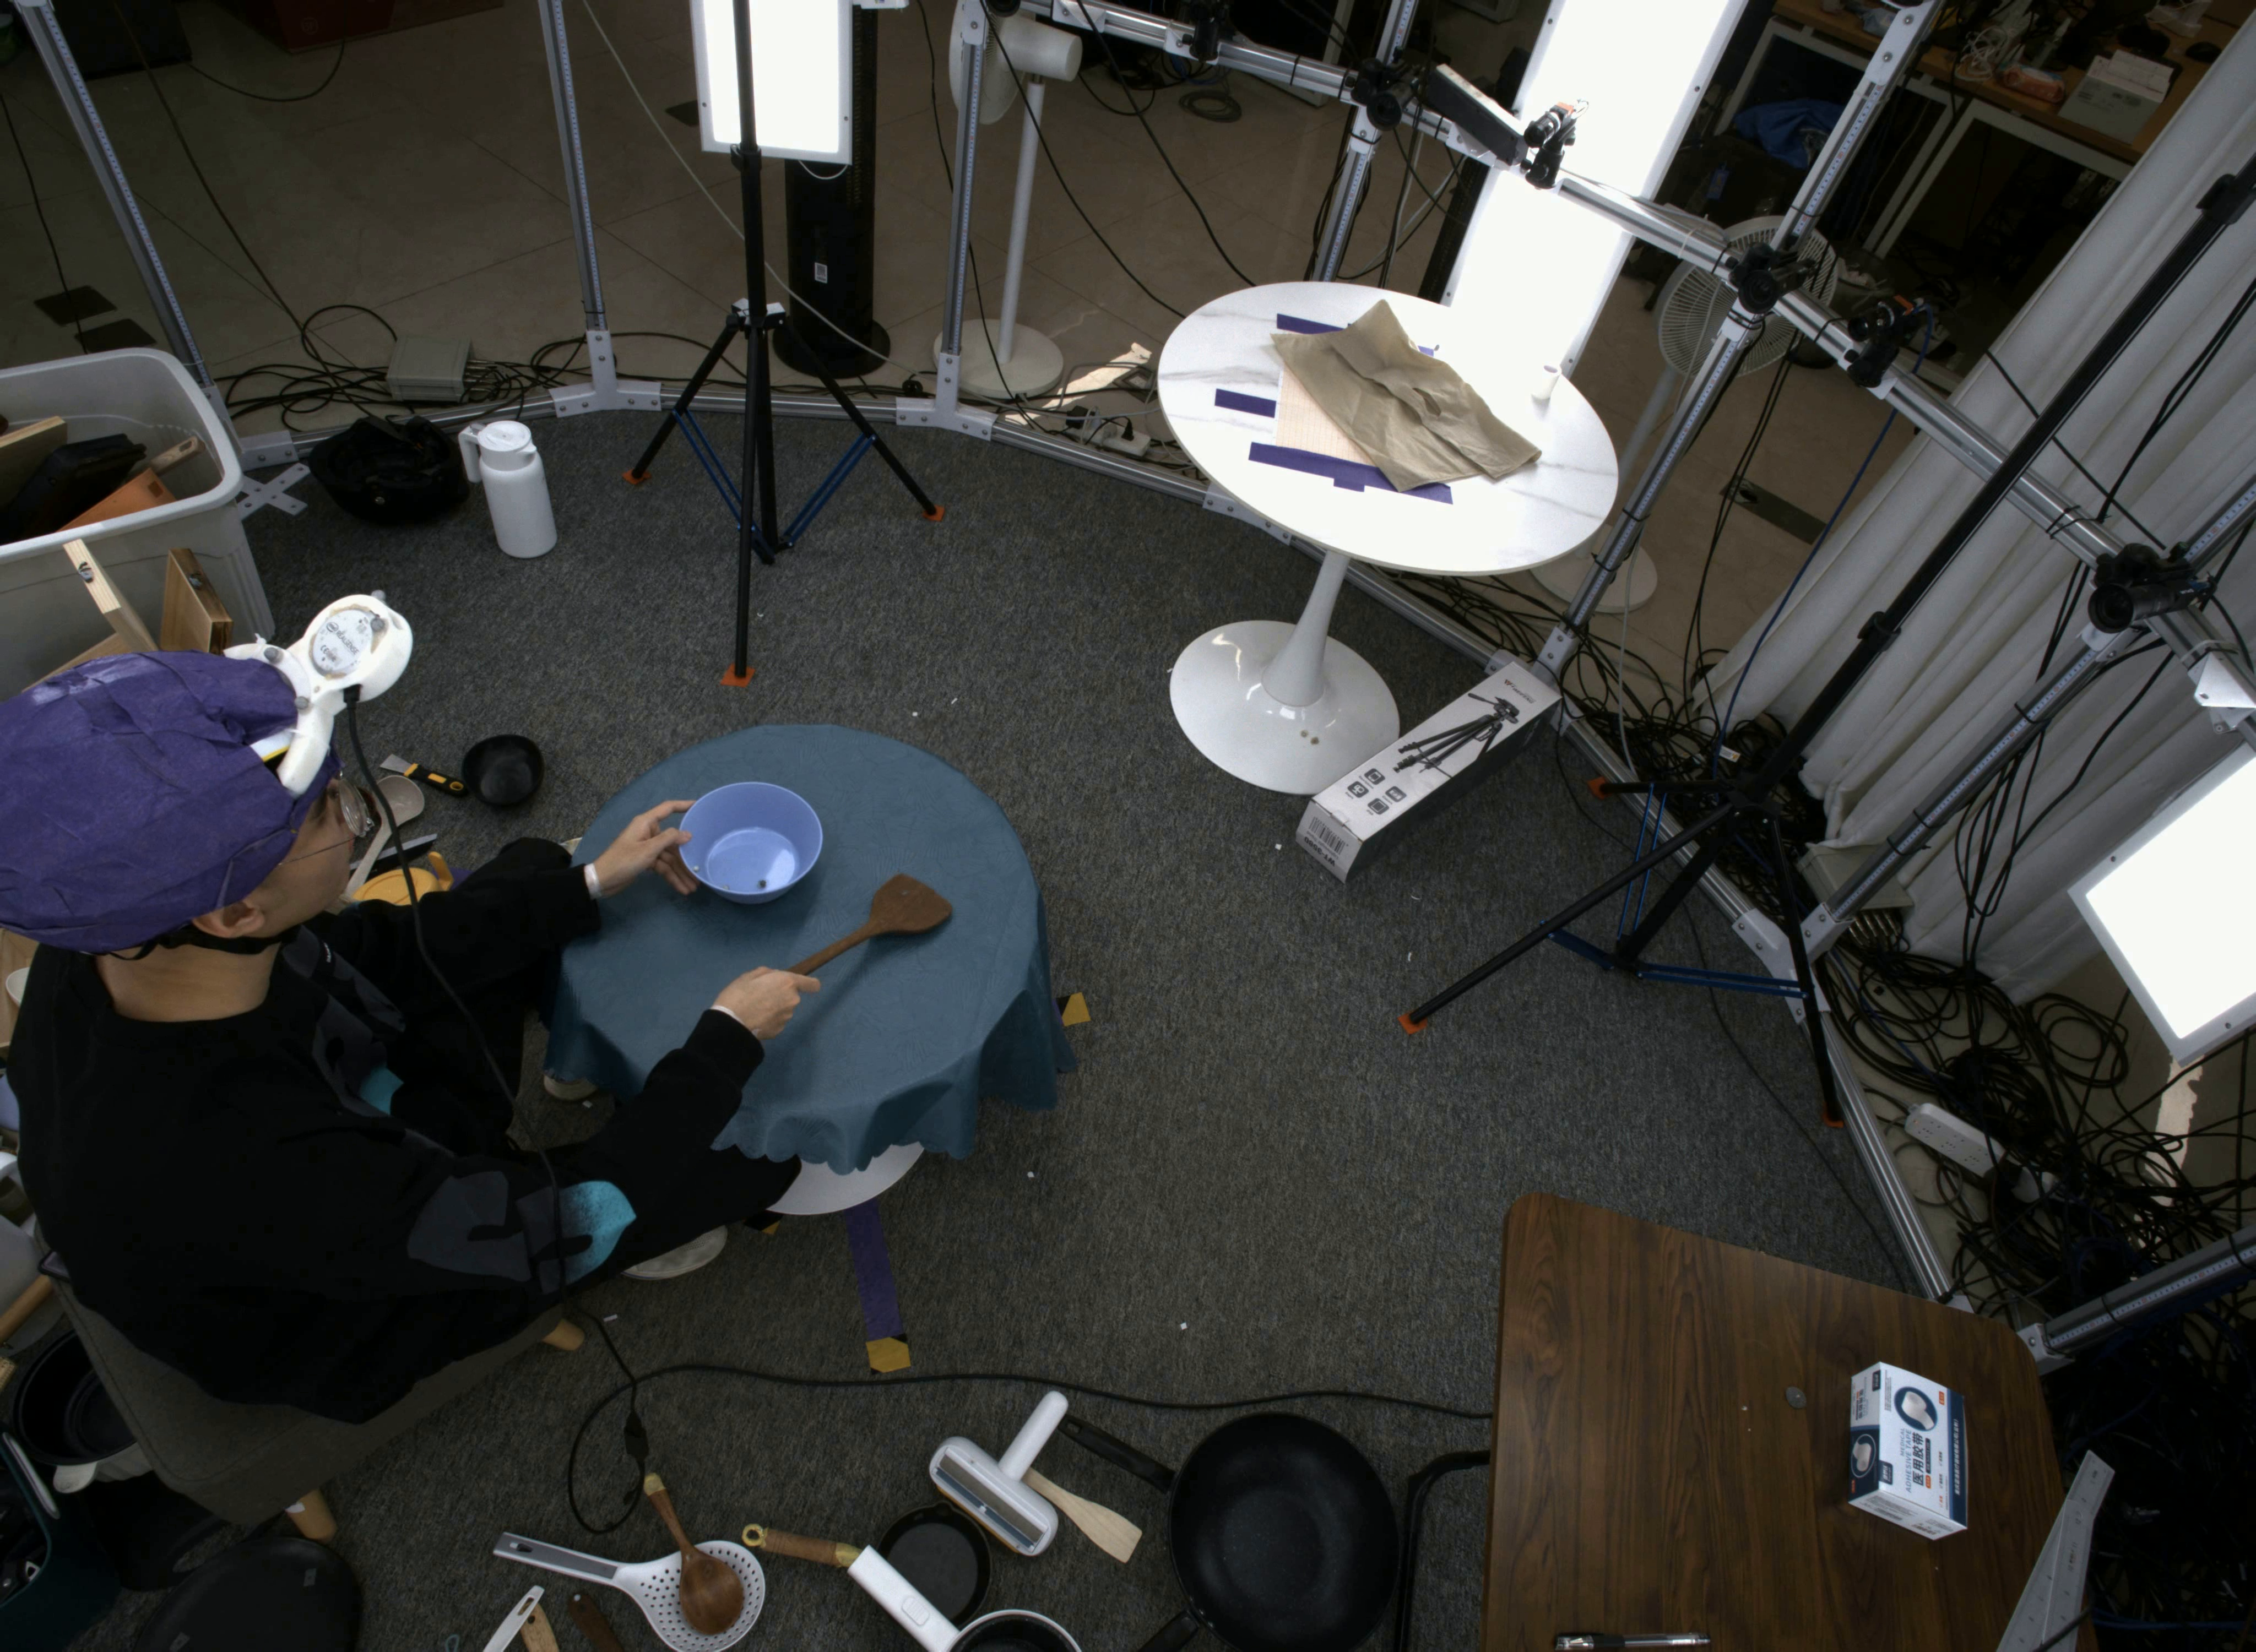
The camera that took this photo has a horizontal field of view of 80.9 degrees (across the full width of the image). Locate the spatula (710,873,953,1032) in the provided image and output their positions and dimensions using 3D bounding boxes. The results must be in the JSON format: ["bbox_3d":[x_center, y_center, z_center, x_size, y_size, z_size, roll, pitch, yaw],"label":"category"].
[{"bbox_3d":[-0.354,0.148,1.560,0.094,0.016,0.387,34,34,16],"label":"spatula"}]

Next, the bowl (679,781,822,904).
[{"bbox_3d":[-0.477,0.031,1.646,0.176,0.071,0.173,8,54,-9],"label":"bowl"}]
